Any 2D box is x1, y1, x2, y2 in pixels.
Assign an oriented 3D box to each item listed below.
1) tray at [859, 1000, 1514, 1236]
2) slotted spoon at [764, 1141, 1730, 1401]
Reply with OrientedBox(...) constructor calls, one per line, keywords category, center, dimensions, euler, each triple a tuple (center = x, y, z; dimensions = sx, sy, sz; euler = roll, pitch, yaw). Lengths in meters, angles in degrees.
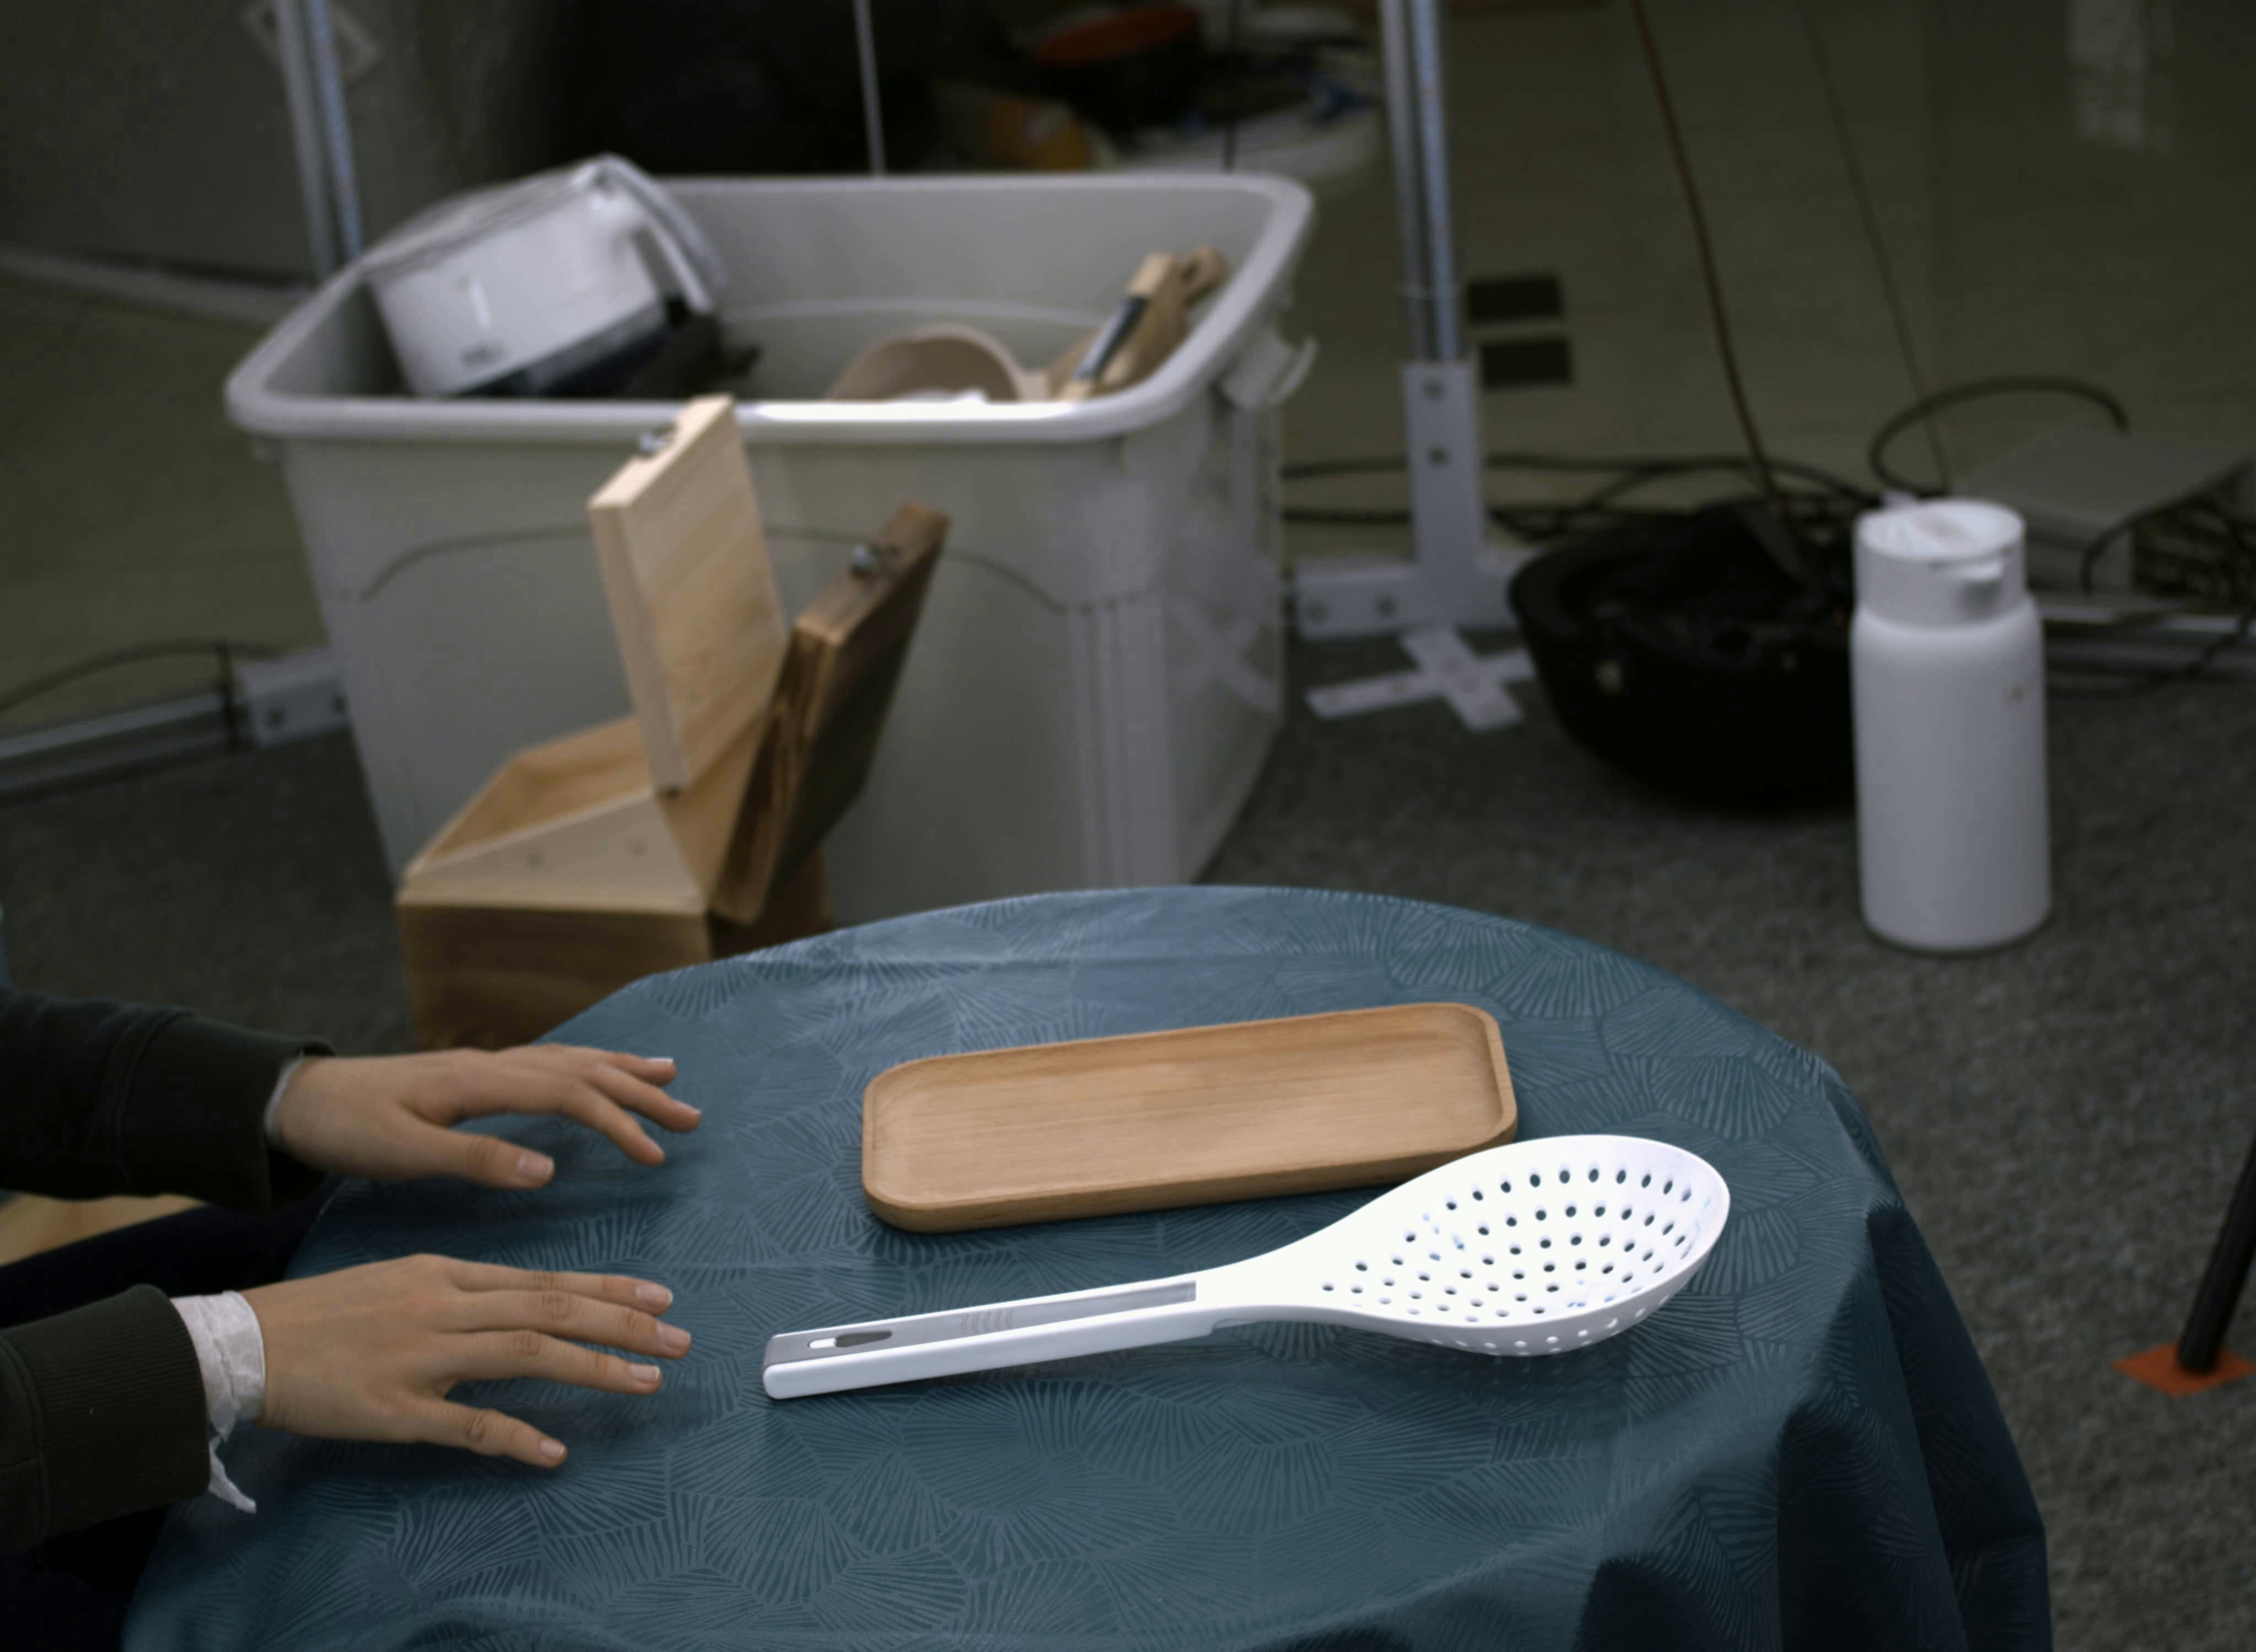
OrientedBox(category="tray", center=(0.021, 0.113, 2.185), dimensions=(0.250, 0.023, 0.129), euler=(-7, 23, 1))
OrientedBox(category="slotted spoon", center=(0.041, 0.168, 2.027), dimensions=(0.349, 0.046, 0.134), euler=(-5, 23, 4))
